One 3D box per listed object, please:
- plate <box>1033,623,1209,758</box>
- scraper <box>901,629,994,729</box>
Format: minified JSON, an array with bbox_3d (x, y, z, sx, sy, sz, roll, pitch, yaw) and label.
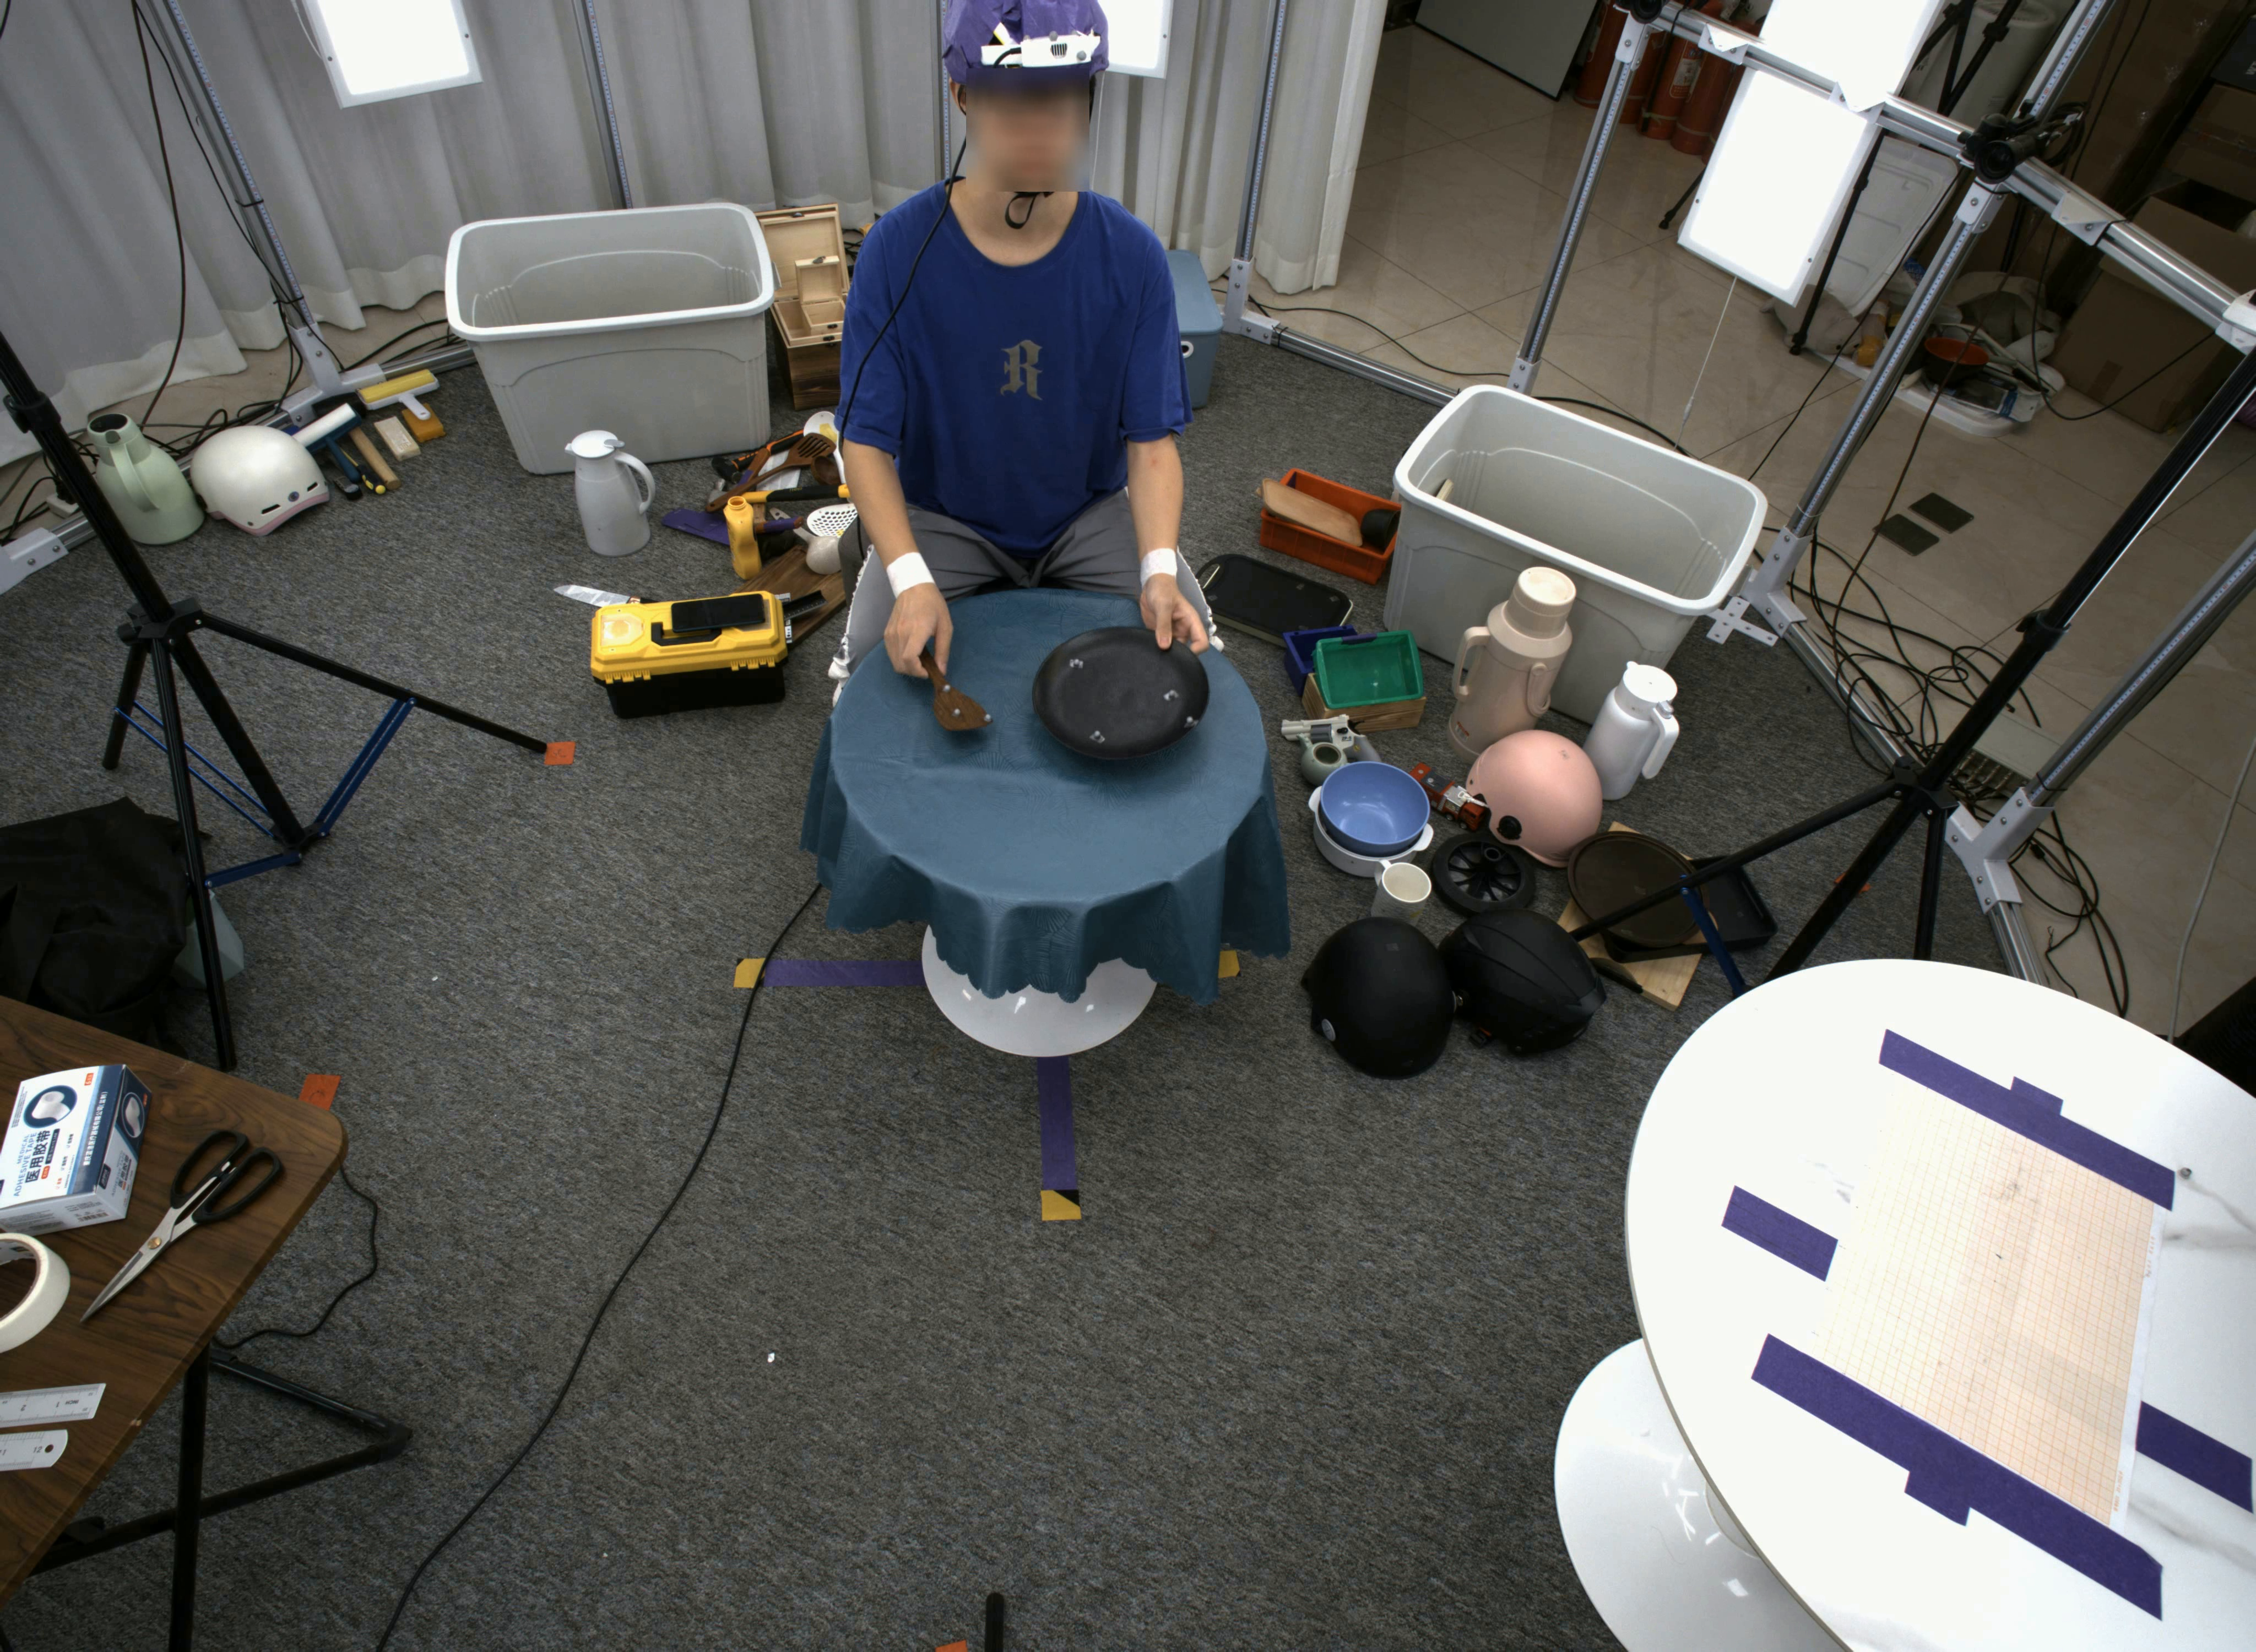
[{"bbox_3d":[-0.009,-0.186,1.772,0.244,0.023,0.250,-2,54,2],"label":"plate"},{"bbox_3d":[-0.261,-0.205,1.781,0.076,0.010,0.216,-12,51,-32],"label":"scraper"}]
